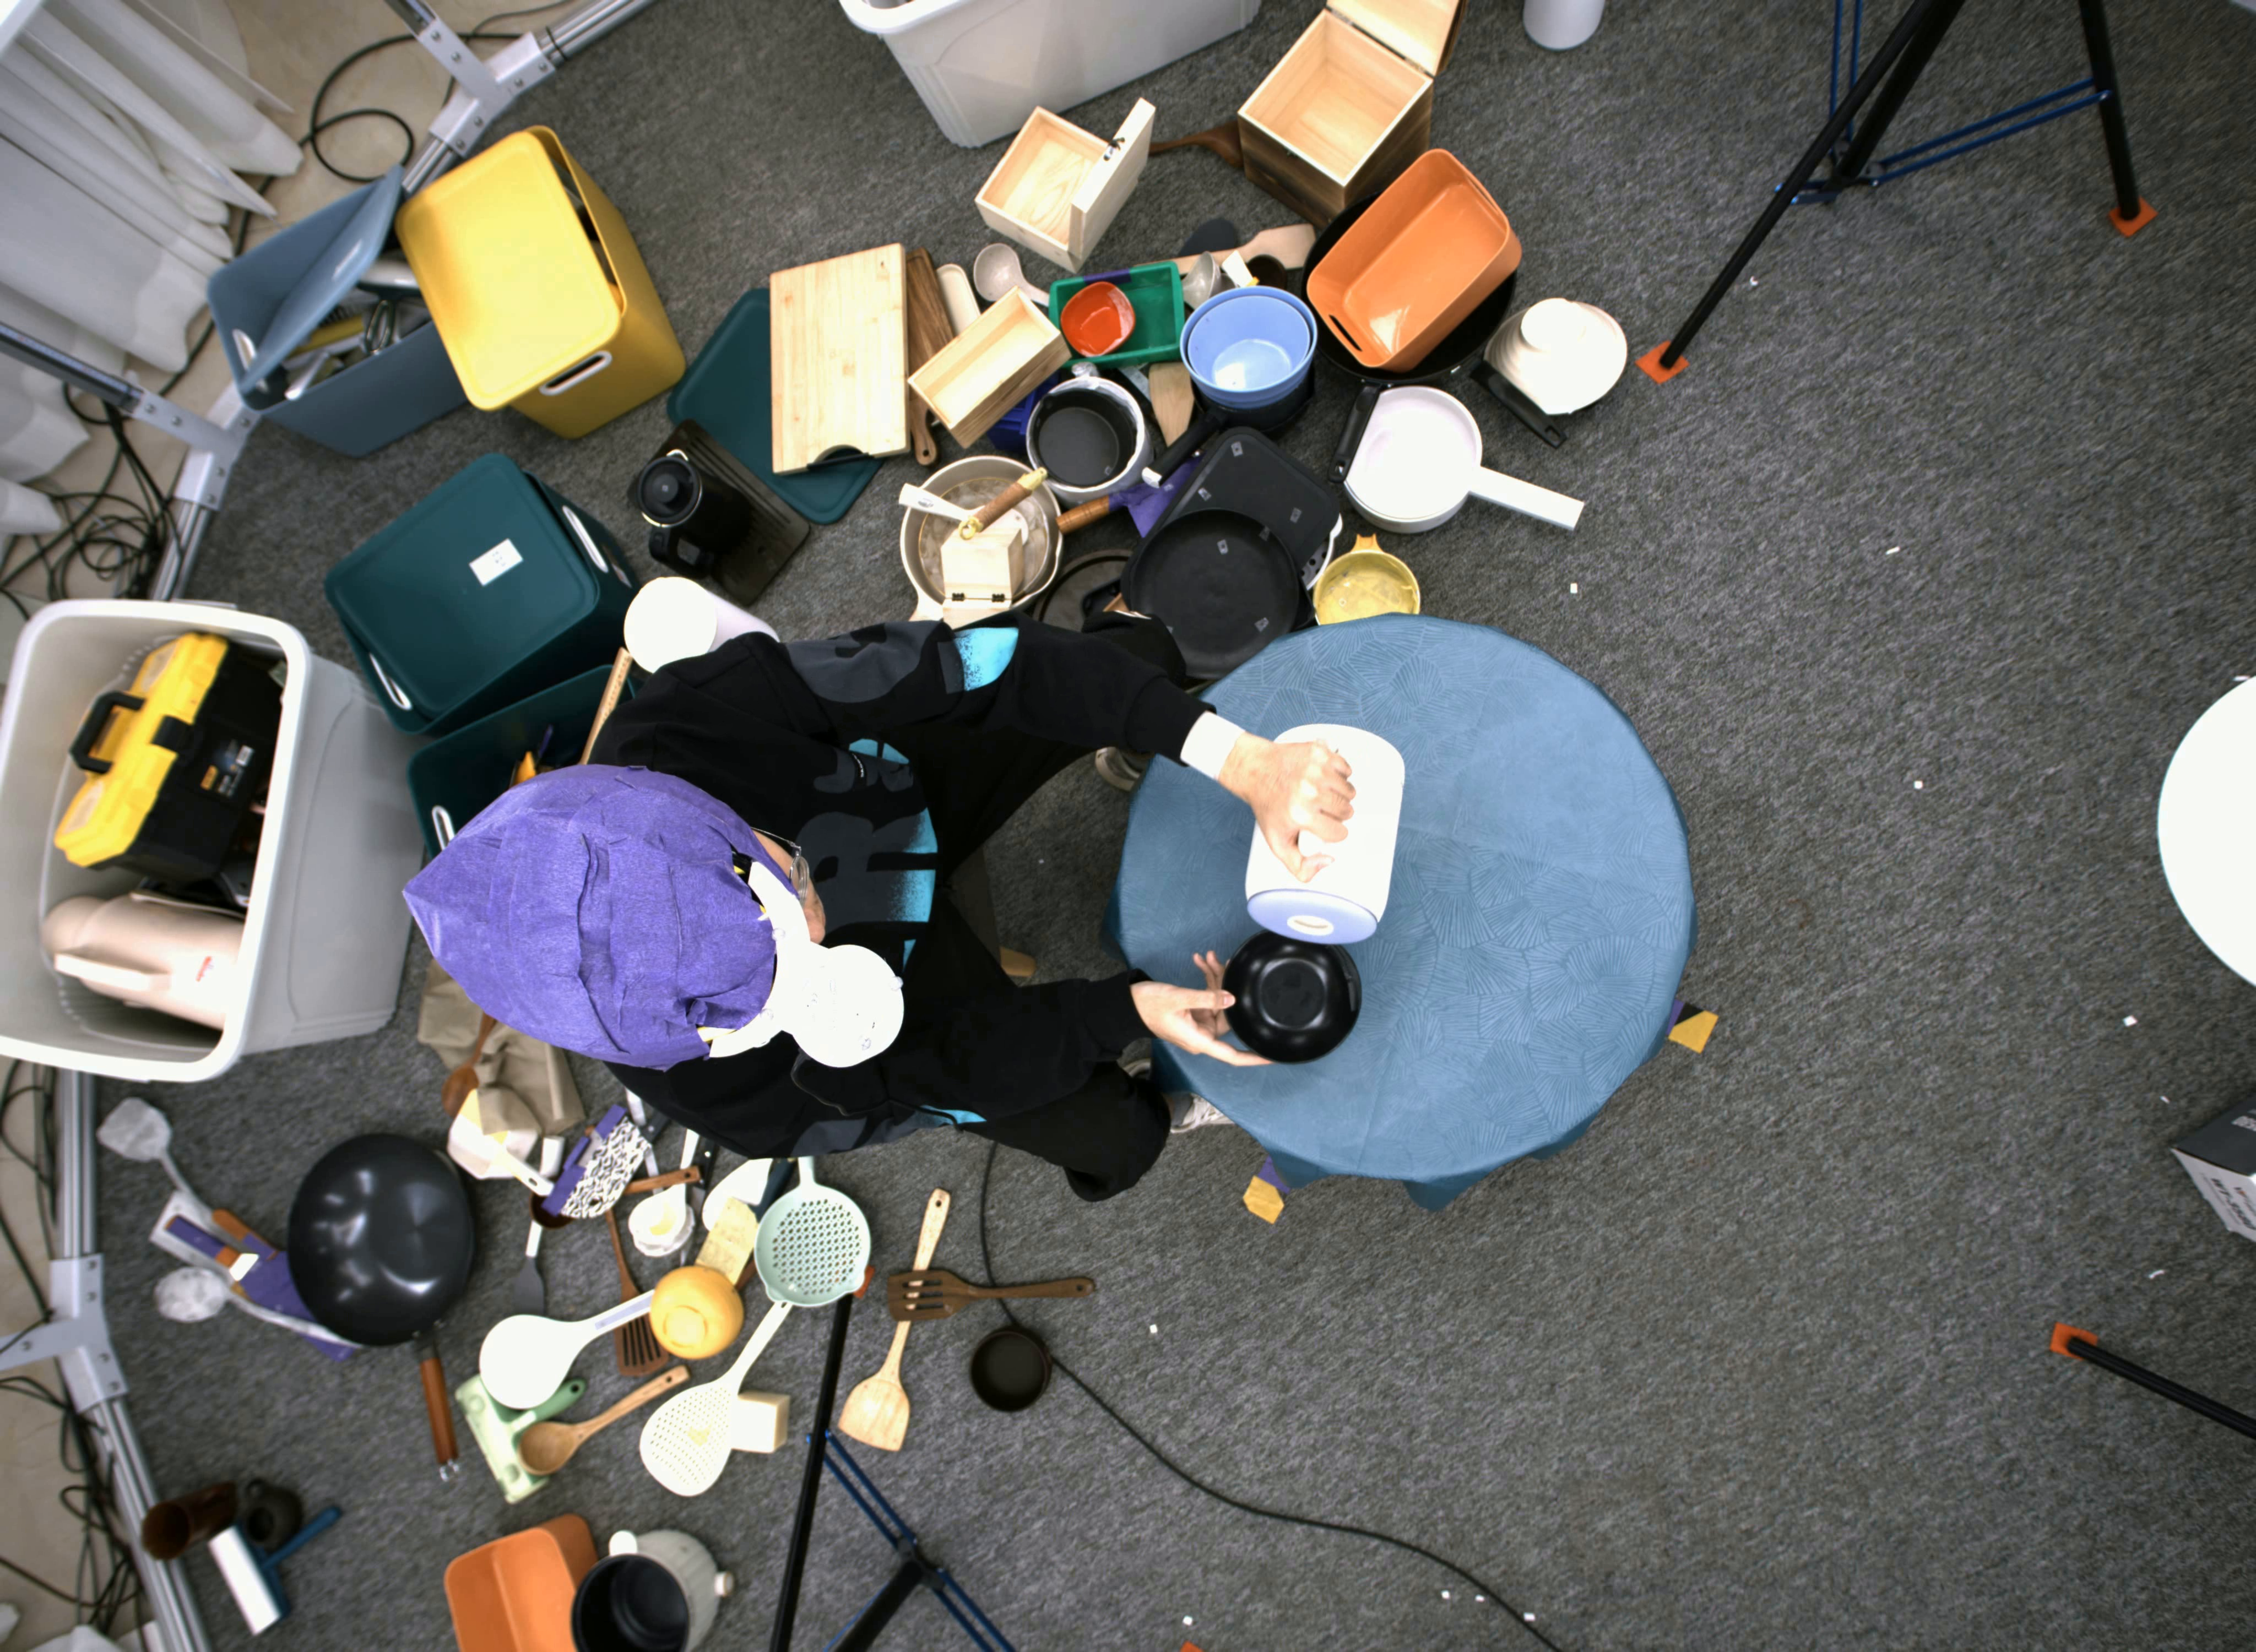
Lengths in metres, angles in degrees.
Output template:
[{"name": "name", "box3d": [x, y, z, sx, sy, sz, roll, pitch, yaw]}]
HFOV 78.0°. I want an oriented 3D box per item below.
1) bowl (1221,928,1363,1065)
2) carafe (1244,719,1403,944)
[{"name": "bowl", "box3d": [0.165, 0.167, 1.388, 0.140, 0.050, 0.139, -1, 86, 10]}, {"name": "carafe", "box3d": [0.176, -0.004, 1.257, 0.133, 0.194, 0.179, 5, 65, 15]}]
